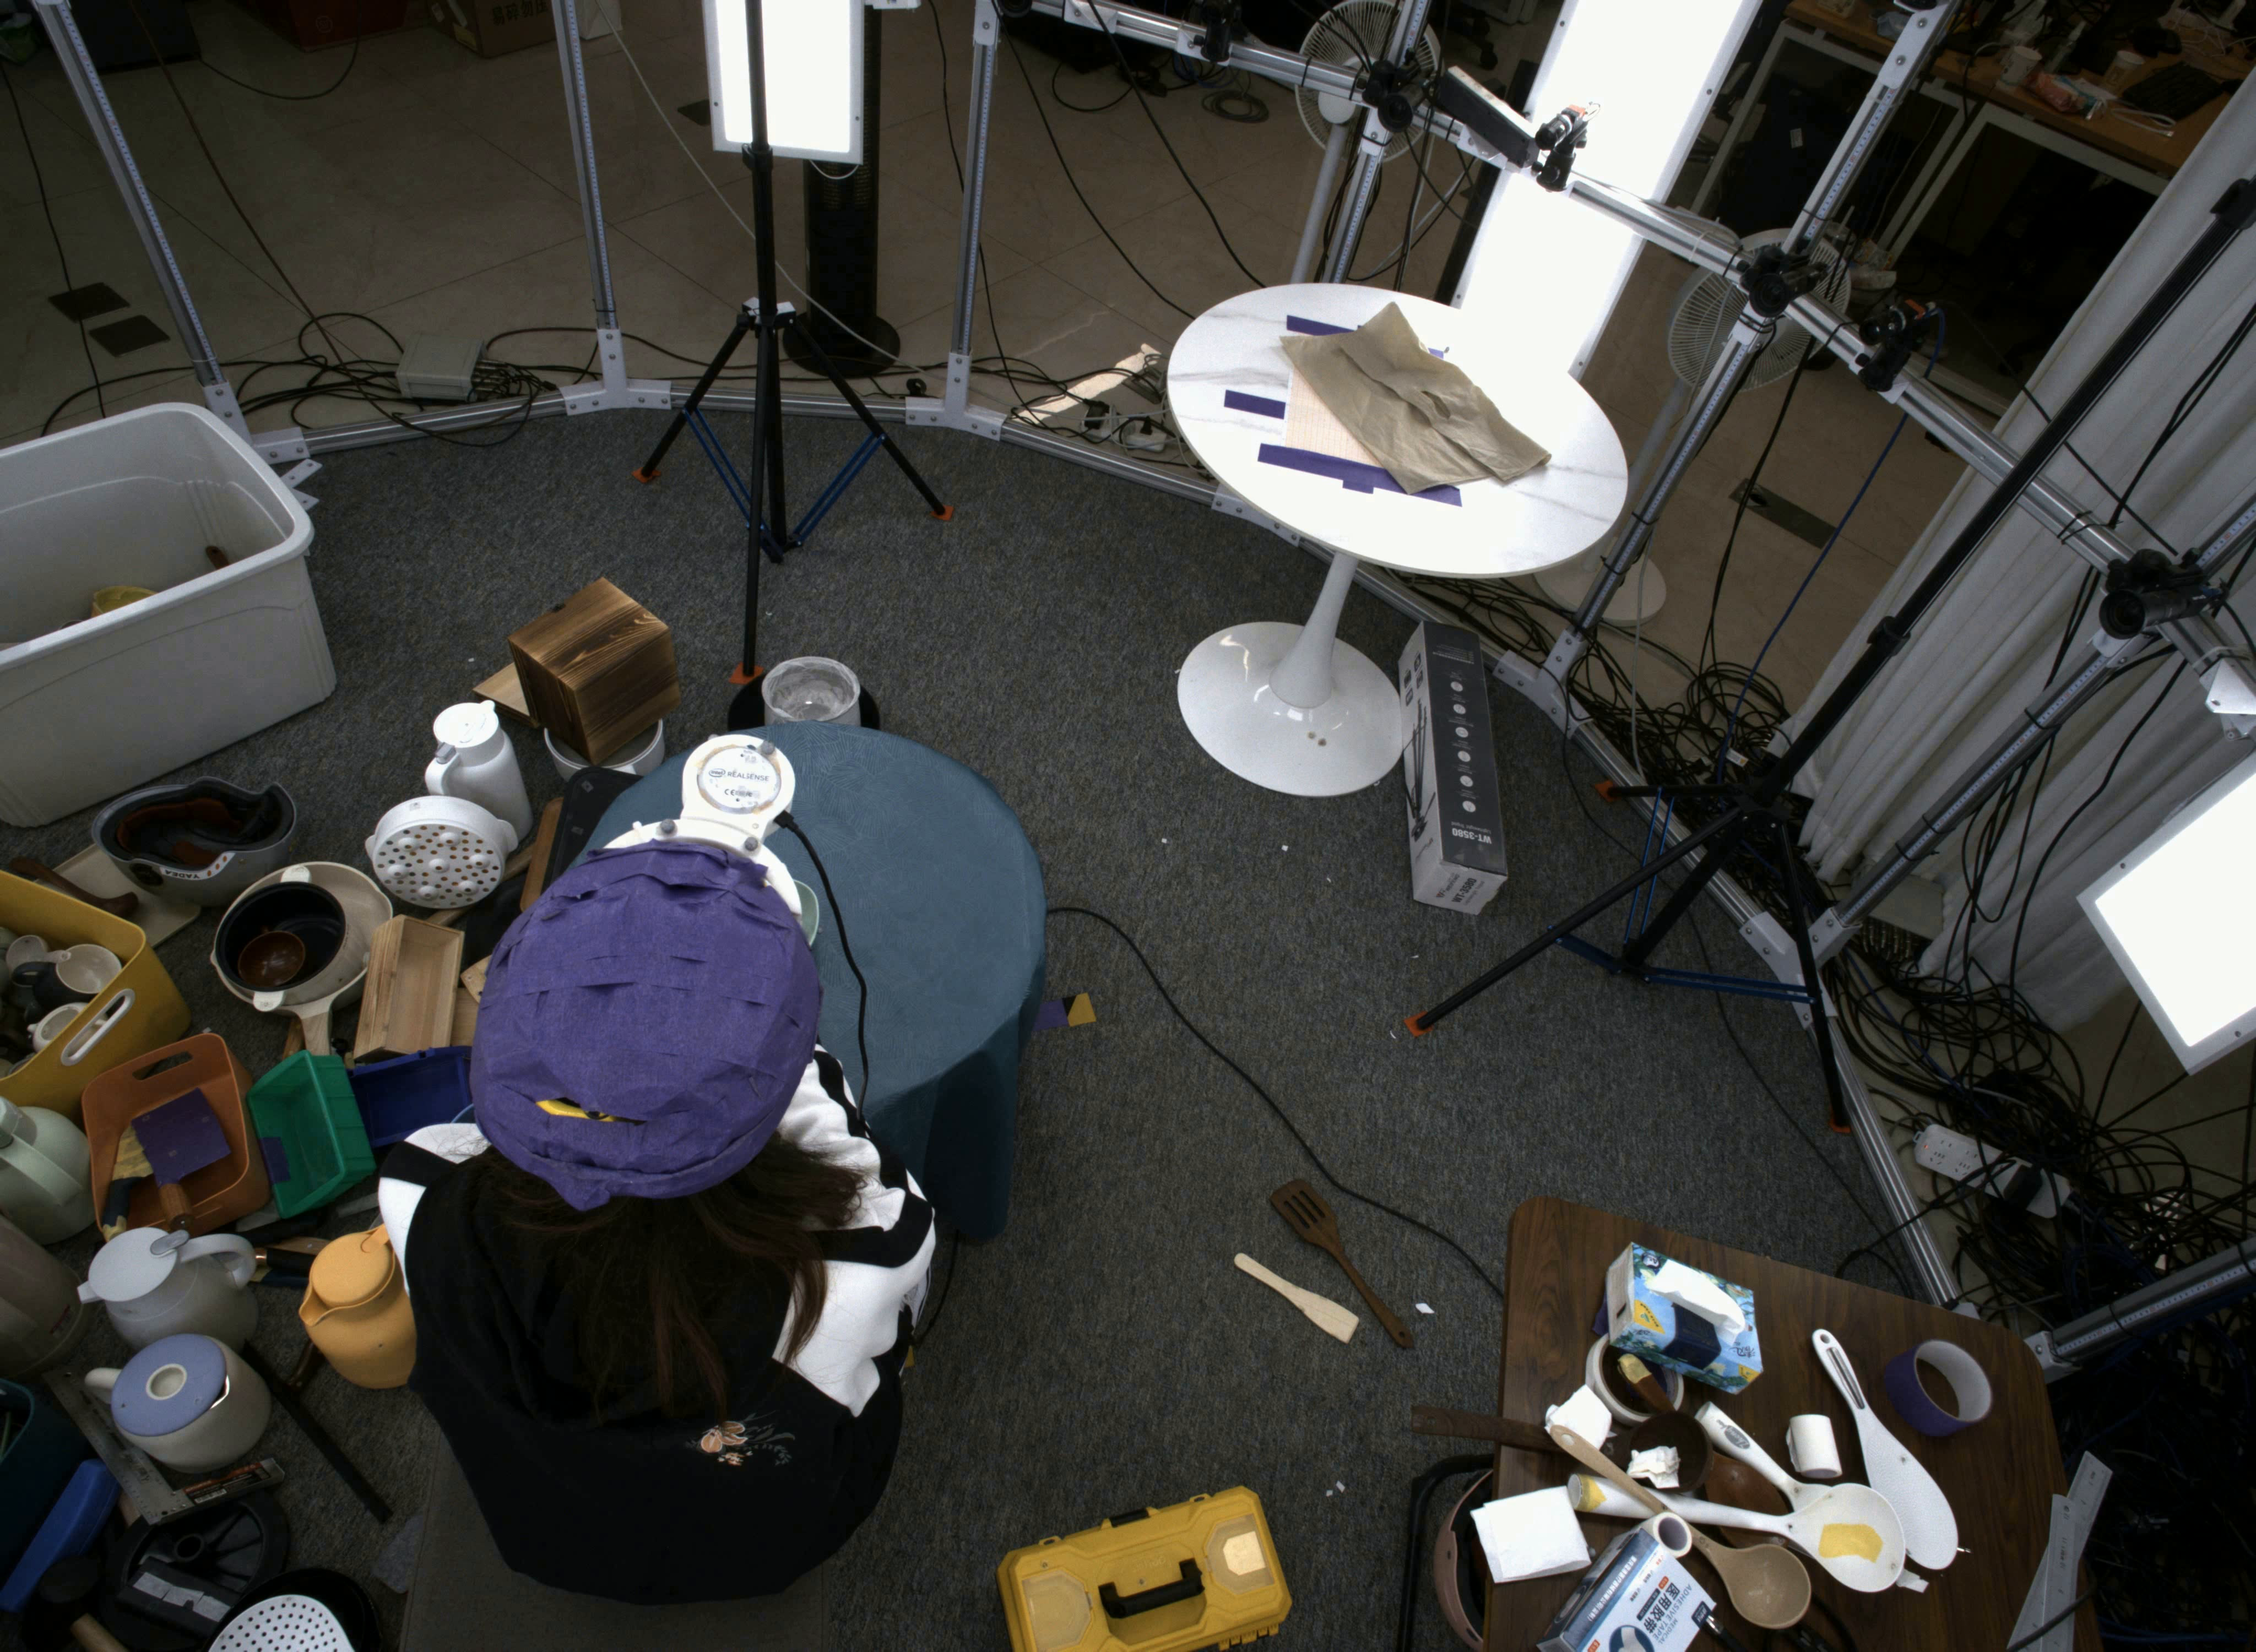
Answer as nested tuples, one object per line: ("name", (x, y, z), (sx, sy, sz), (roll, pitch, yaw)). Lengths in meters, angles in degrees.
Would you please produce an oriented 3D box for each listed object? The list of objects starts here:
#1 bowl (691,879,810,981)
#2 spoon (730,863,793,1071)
("bowl", (-0.457, 0.134, 1.574), (0.151, 0.060, 0.148), (8, 50, -8))
("spoon", (-0.406, 0.156, 1.490), (0.060, 0.103, 0.269), (-16, 54, -25))
